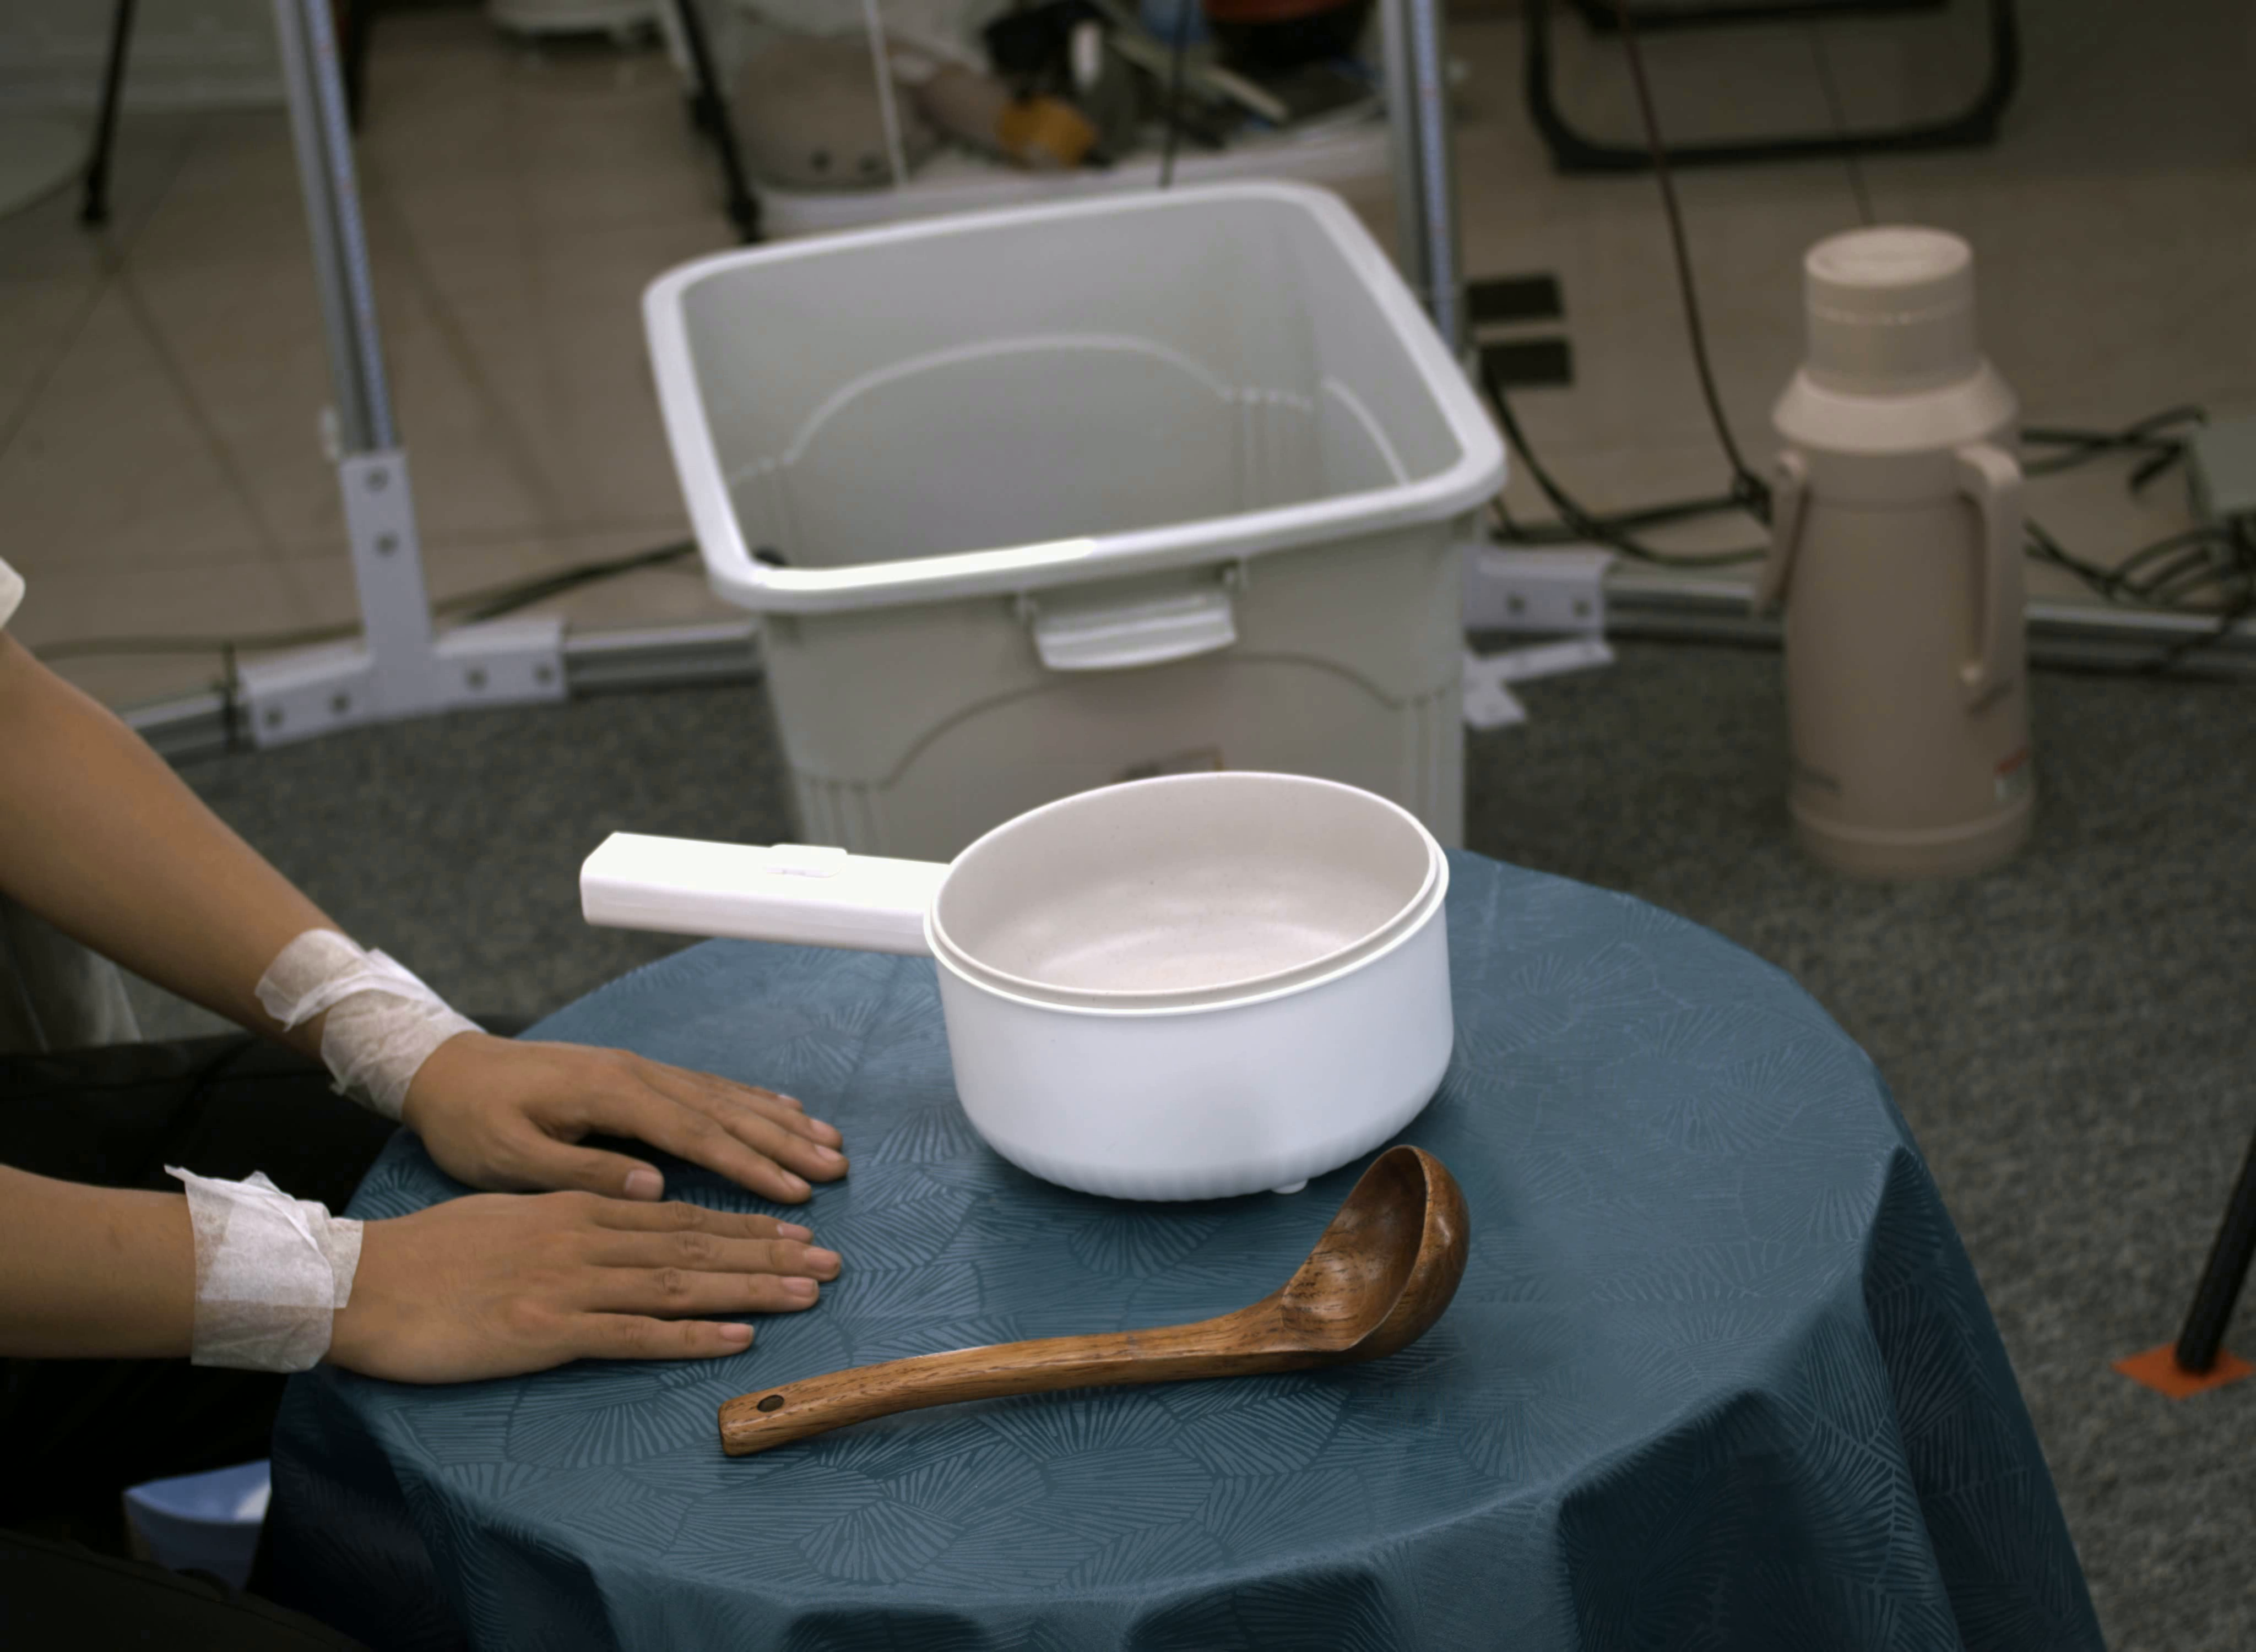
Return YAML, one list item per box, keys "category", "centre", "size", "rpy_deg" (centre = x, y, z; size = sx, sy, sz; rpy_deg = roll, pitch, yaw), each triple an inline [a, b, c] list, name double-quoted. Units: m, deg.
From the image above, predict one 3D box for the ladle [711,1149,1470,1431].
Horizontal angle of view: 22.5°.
- category: "ladle"
  centre: [-0.015, 0.165, 2.003]
  size: [0.273, 0.078, 0.080]
  rpy_deg: [-6, 26, -1]

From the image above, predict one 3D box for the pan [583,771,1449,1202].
- category: "pan"
  centre: [-0.045, 0.060, 2.212]
  size: [0.354, 0.104, 0.198]
  rpy_deg: [4, 28, 23]
